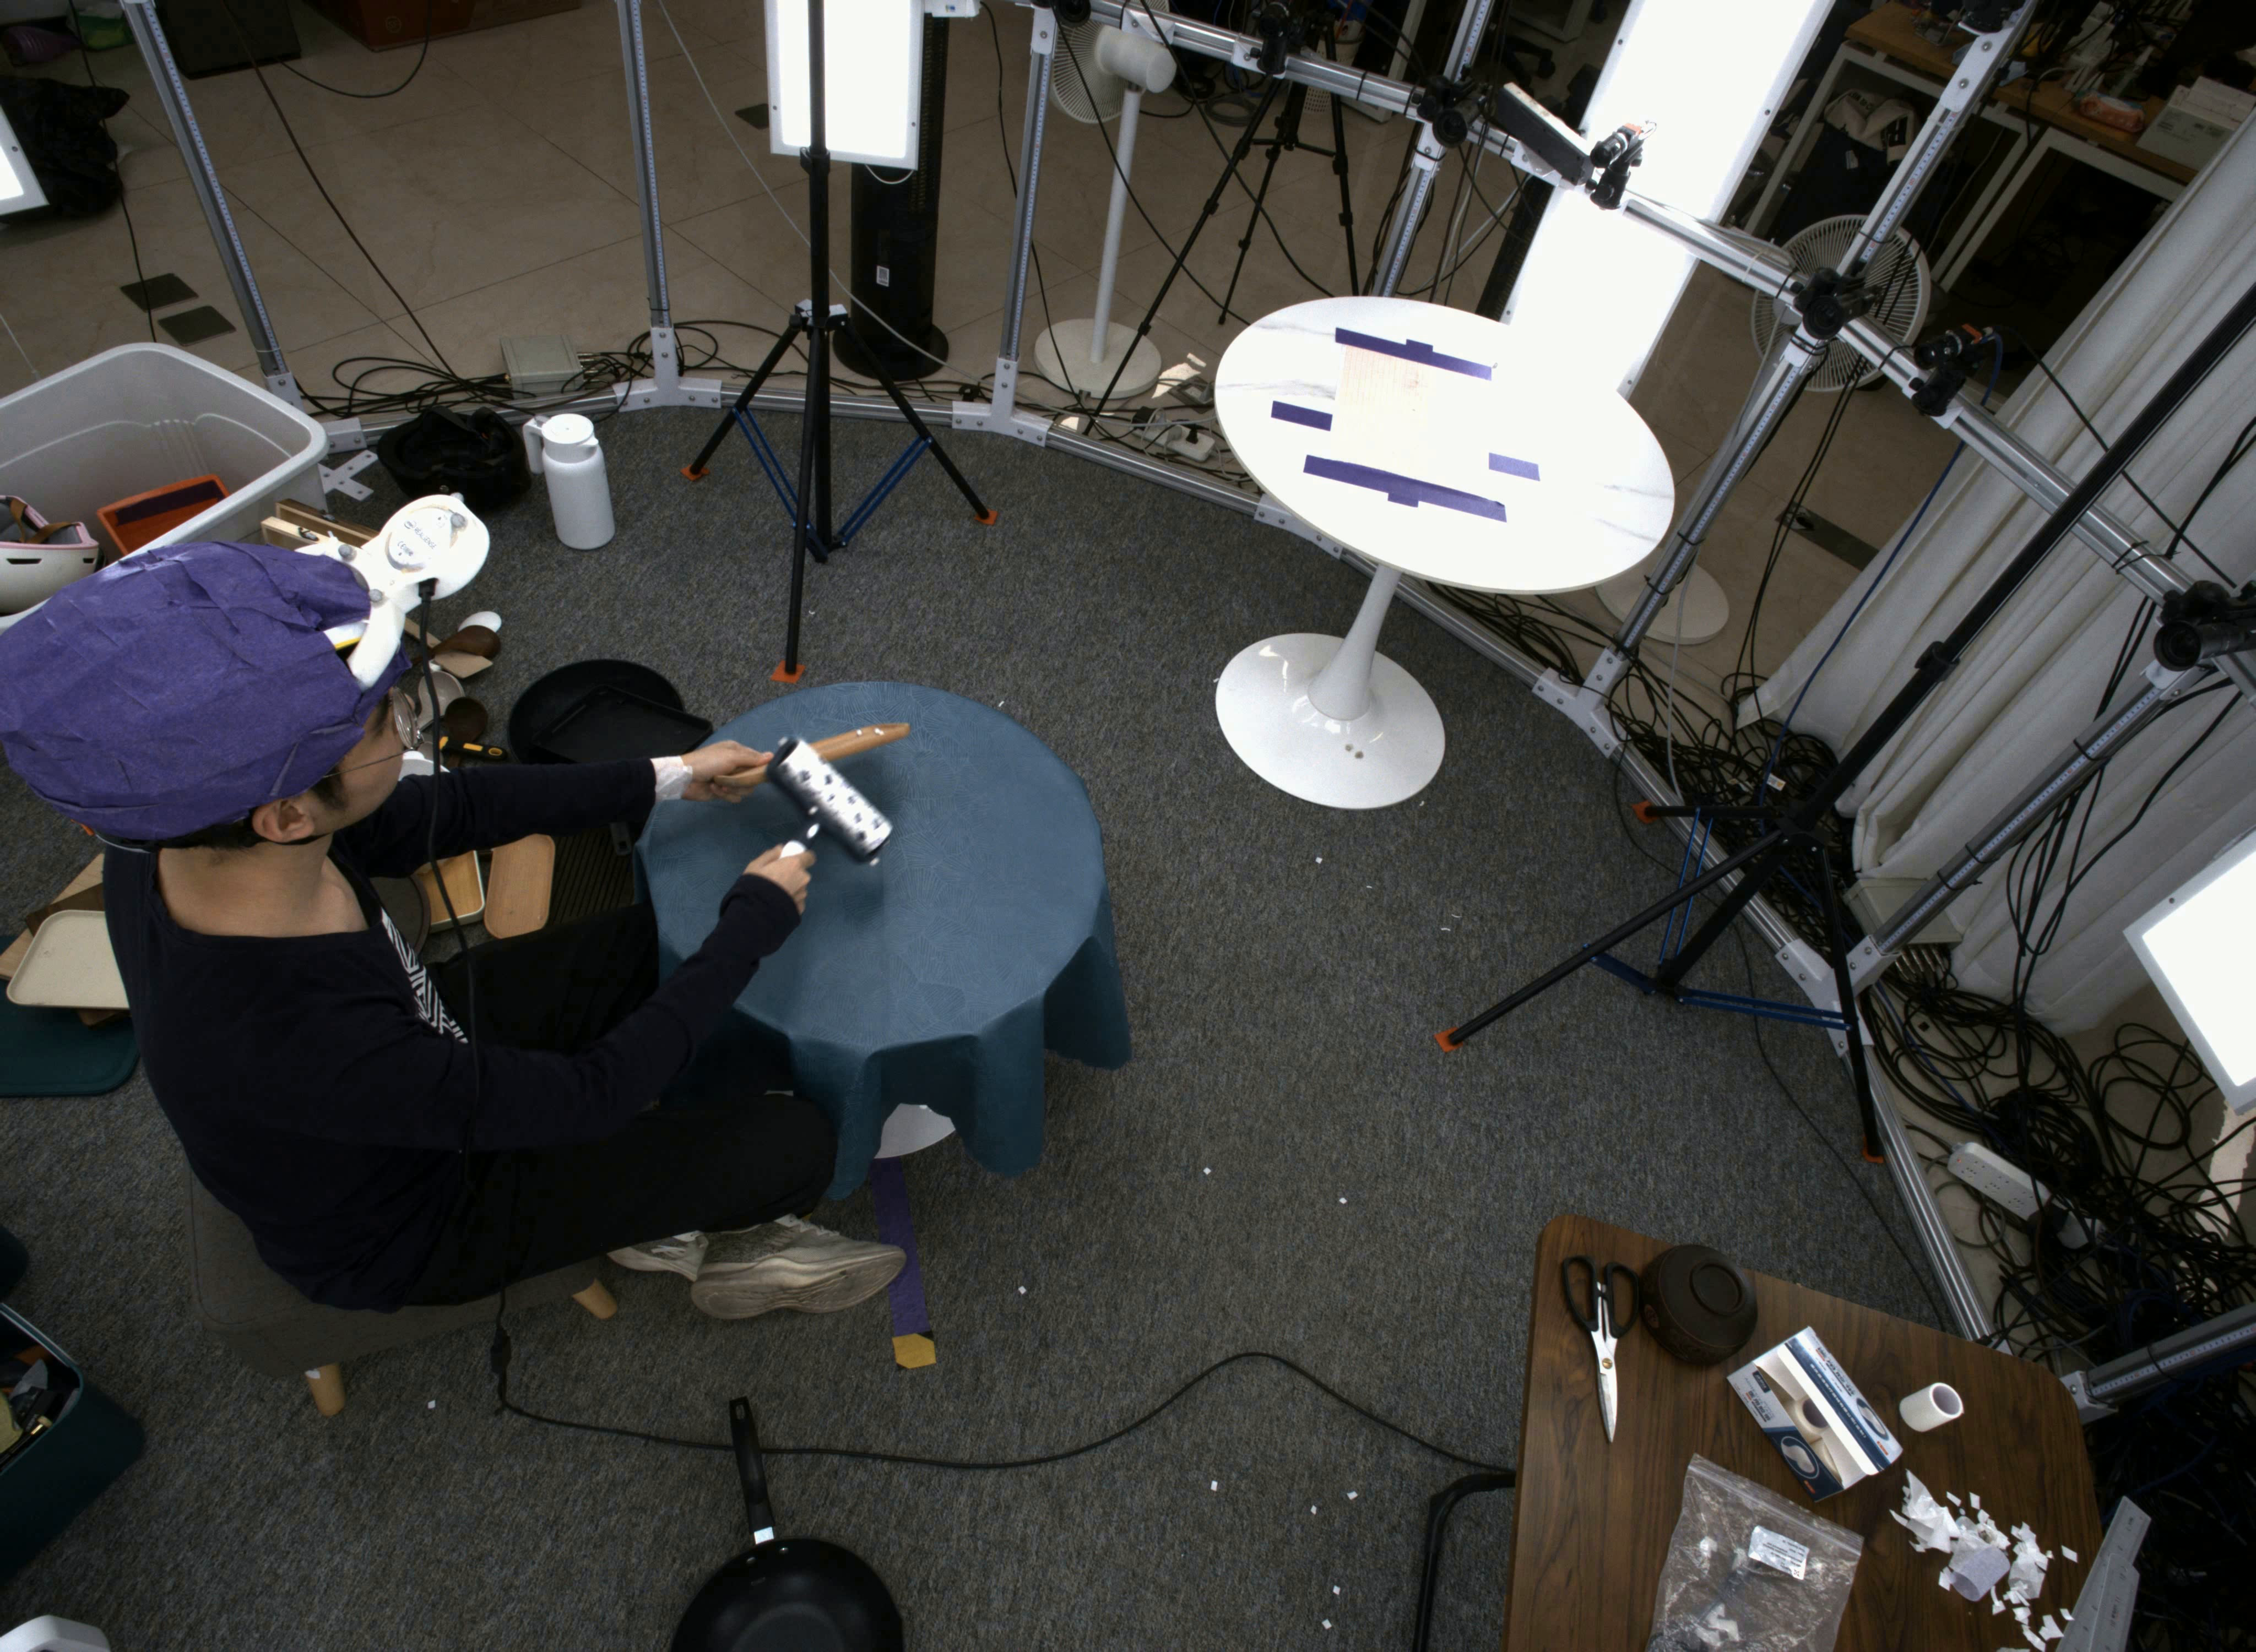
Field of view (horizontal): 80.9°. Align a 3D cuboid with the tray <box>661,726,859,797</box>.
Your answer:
[{"bbox_3d":[-0.472,-0.085,1.666,0.252,0.126,0.023,-25,104,-35],"label":"tray"}]

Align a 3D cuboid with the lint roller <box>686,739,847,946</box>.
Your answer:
[{"bbox_3d":[-0.451,0.038,1.538,0.182,0.049,0.245,46,47,-29],"label":"lint roller"}]
